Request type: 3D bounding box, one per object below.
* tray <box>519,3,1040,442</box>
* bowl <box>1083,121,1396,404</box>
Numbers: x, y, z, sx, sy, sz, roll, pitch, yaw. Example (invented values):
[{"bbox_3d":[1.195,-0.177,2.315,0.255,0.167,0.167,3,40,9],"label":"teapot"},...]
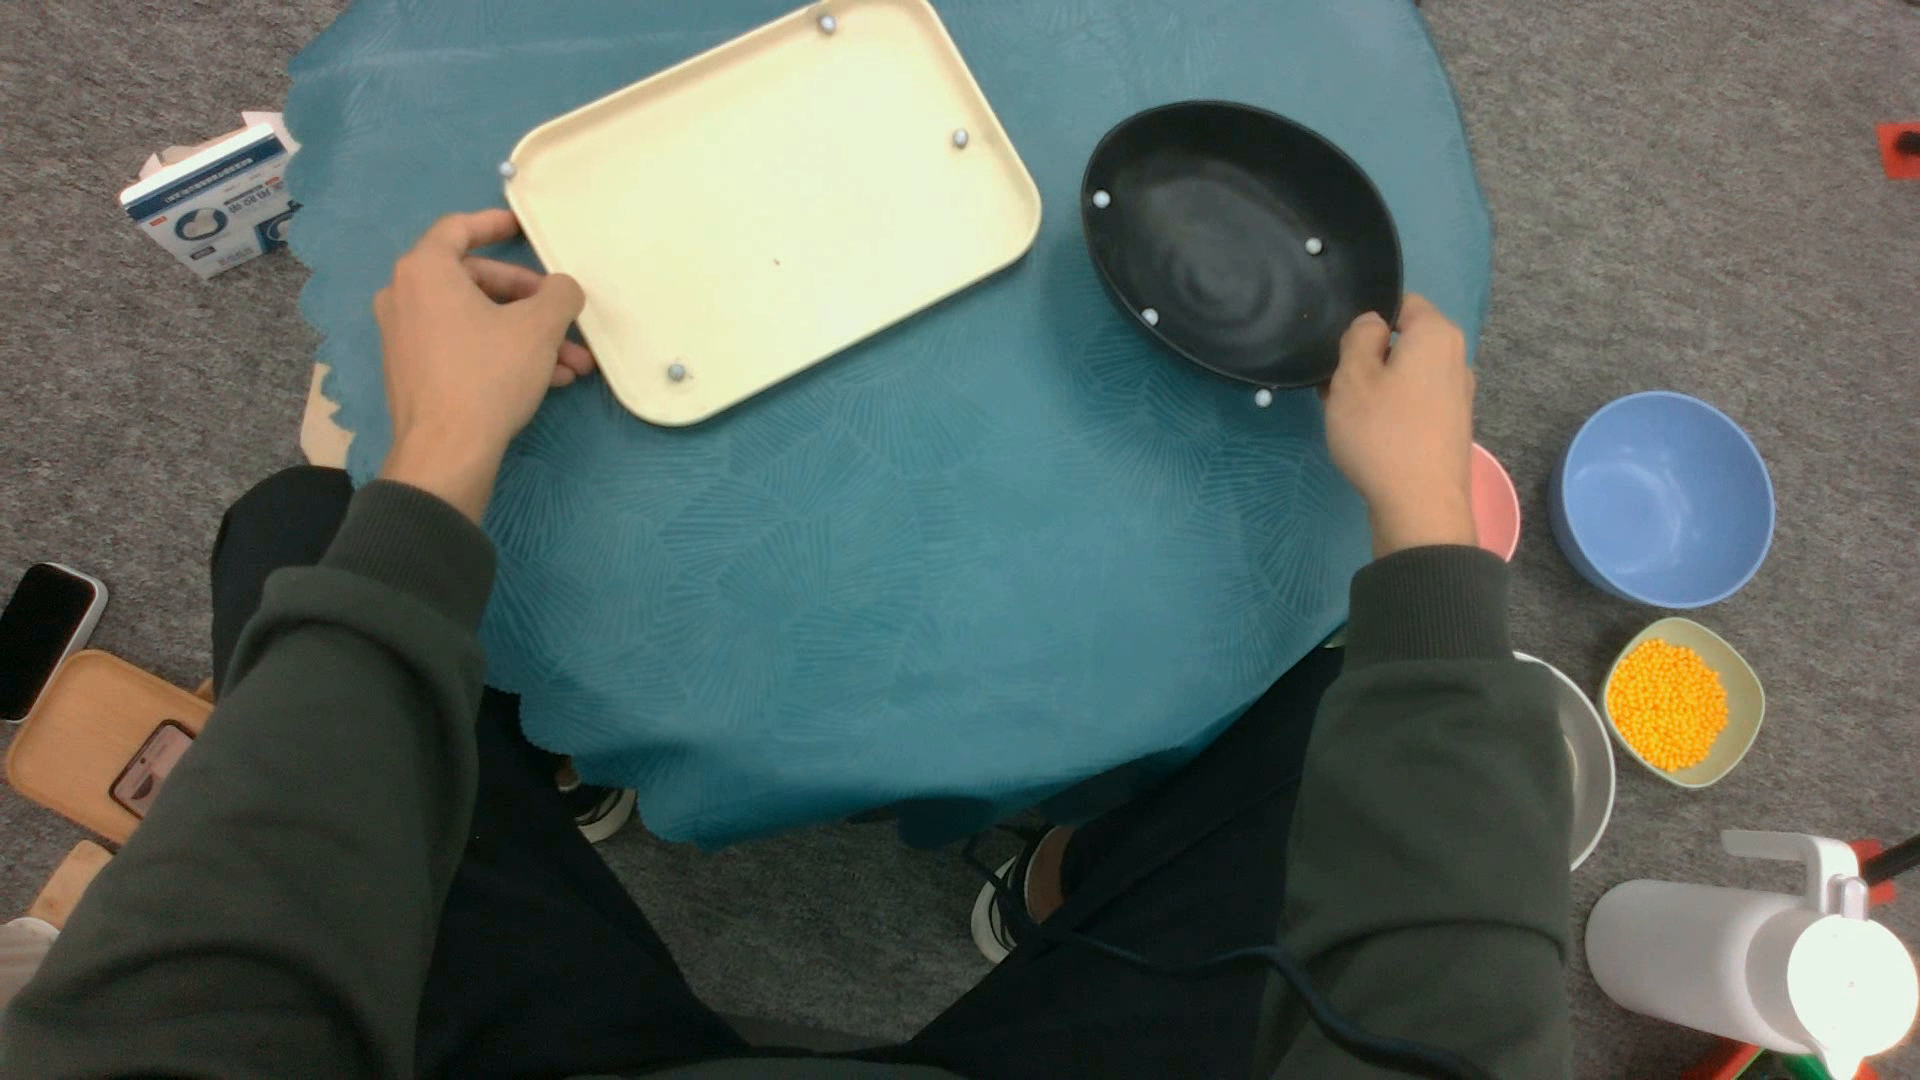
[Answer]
[{"bbox_3d":[-0.092,-0.168,0.719,0.240,0.017,0.171,-30,83,-10],"label":"tray"},{"bbox_3d":[0.136,-0.133,0.706,0.170,0.066,0.137,39,76,8],"label":"bowl"}]
